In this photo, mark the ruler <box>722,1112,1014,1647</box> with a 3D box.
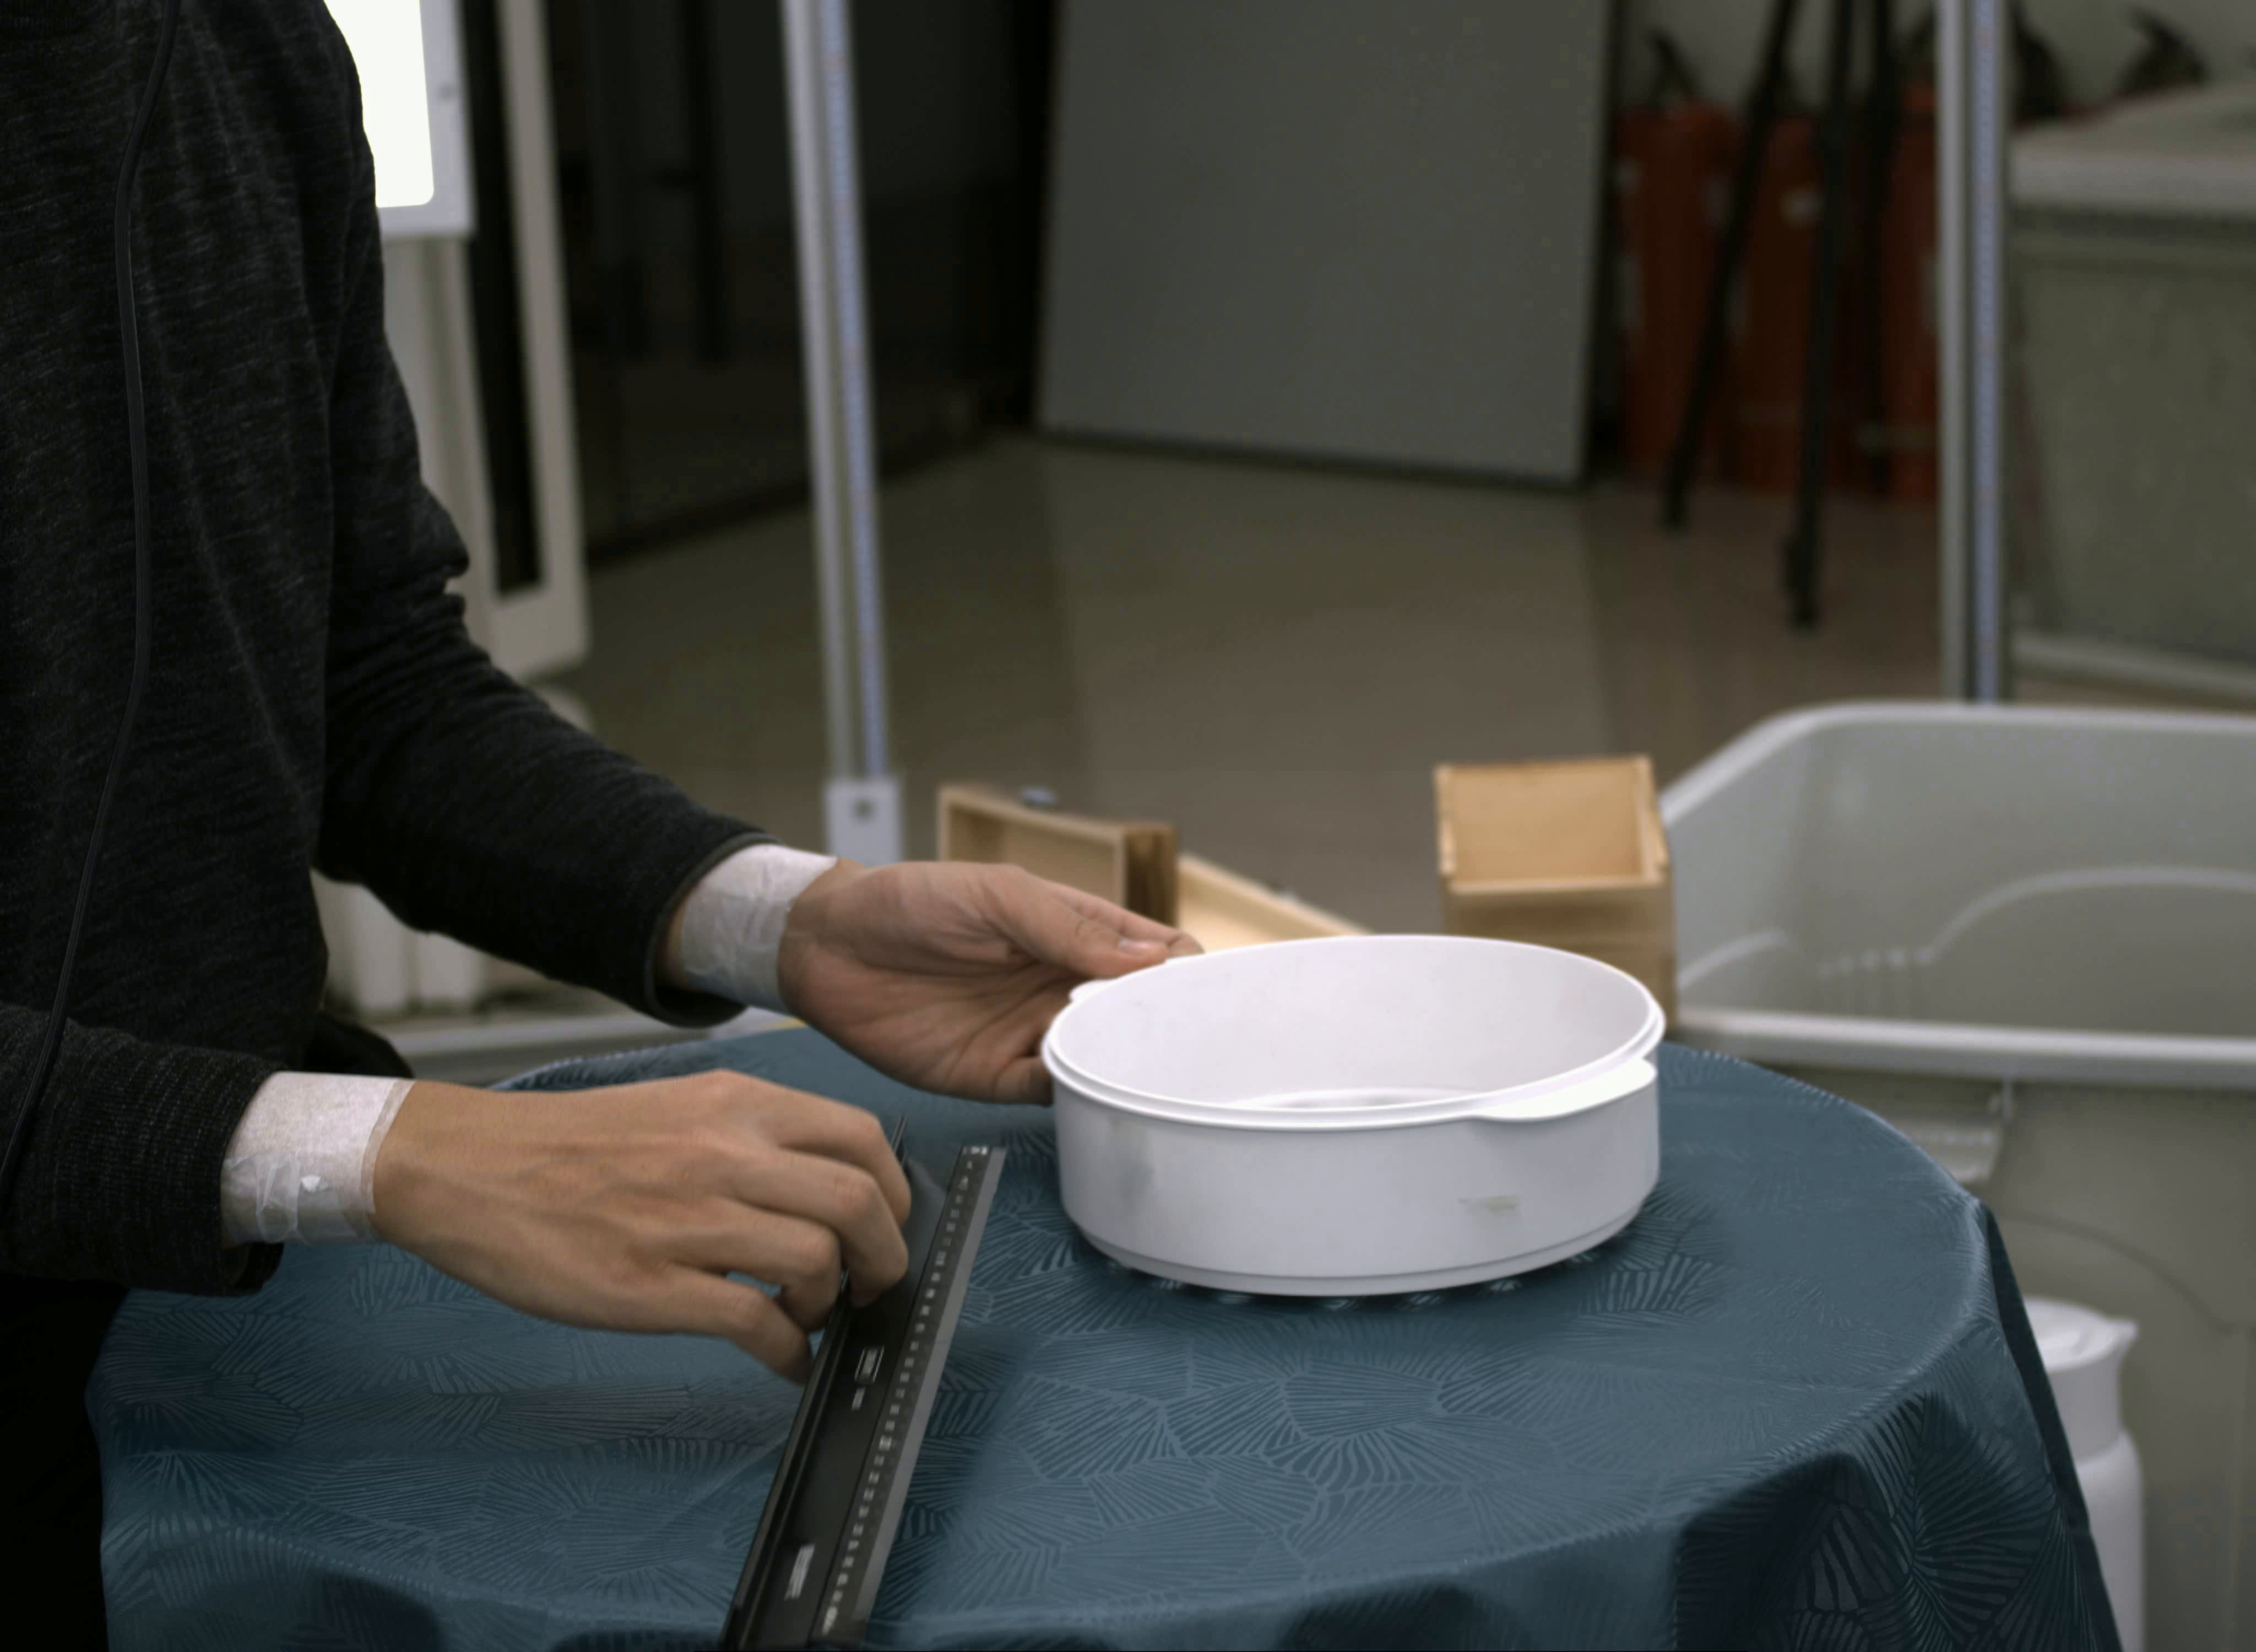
[{"bbox_3d":[-0.070,0.147,1.519,0.039,0.017,0.312,-4,20,8],"label":"ruler"}]

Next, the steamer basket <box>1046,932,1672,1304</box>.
[{"bbox_3d":[0.074,0.093,1.718,0.197,0.070,0.233,-15,19,-37],"label":"steamer basket"}]
